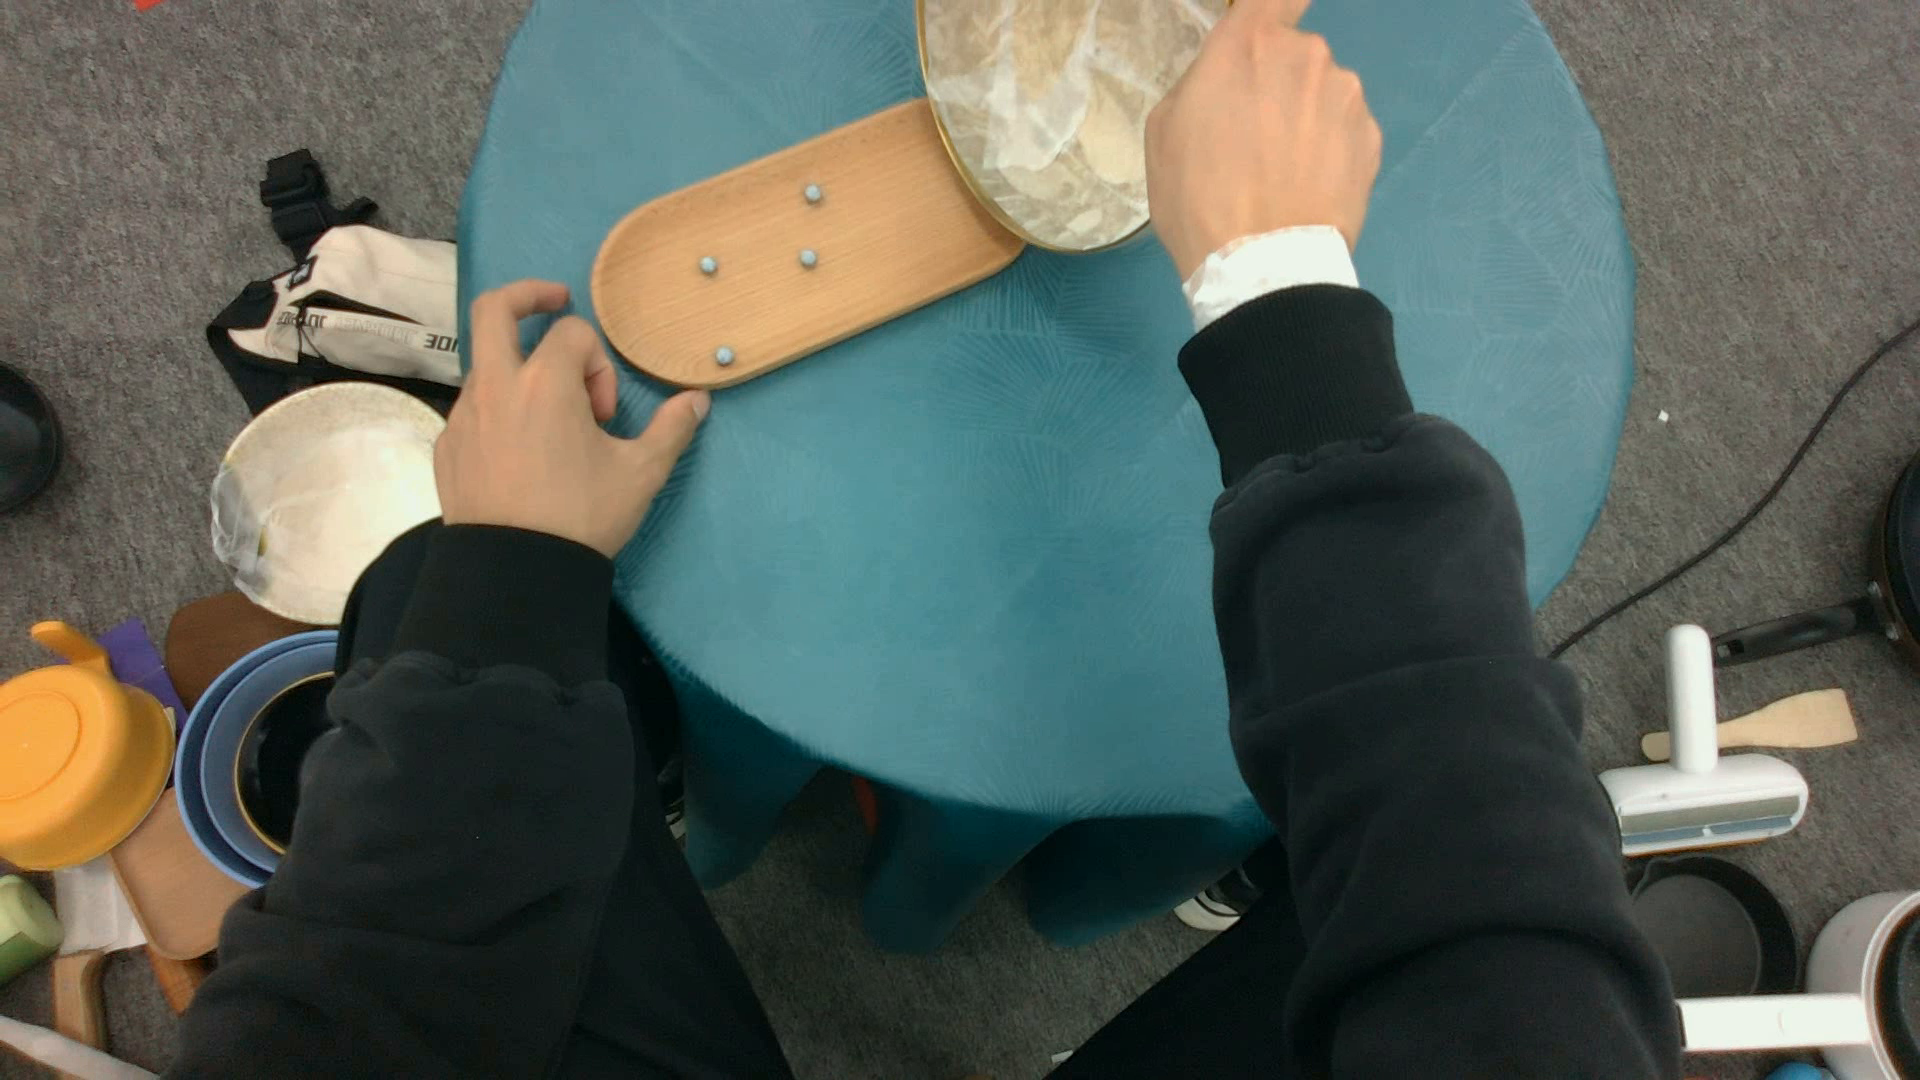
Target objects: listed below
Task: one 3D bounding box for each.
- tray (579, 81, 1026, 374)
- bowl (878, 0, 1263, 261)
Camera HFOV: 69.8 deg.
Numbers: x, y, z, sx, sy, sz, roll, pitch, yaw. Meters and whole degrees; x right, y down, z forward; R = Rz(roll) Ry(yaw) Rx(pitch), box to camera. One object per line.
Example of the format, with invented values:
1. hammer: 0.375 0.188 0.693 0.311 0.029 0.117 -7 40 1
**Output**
1. tray: -0.074 -0.156 0.682 0.232 0.020 0.102 -26 81 -15
2. bowl: 0.063 -0.241 0.632 0.095 0.213 0.215 -21 77 -36
